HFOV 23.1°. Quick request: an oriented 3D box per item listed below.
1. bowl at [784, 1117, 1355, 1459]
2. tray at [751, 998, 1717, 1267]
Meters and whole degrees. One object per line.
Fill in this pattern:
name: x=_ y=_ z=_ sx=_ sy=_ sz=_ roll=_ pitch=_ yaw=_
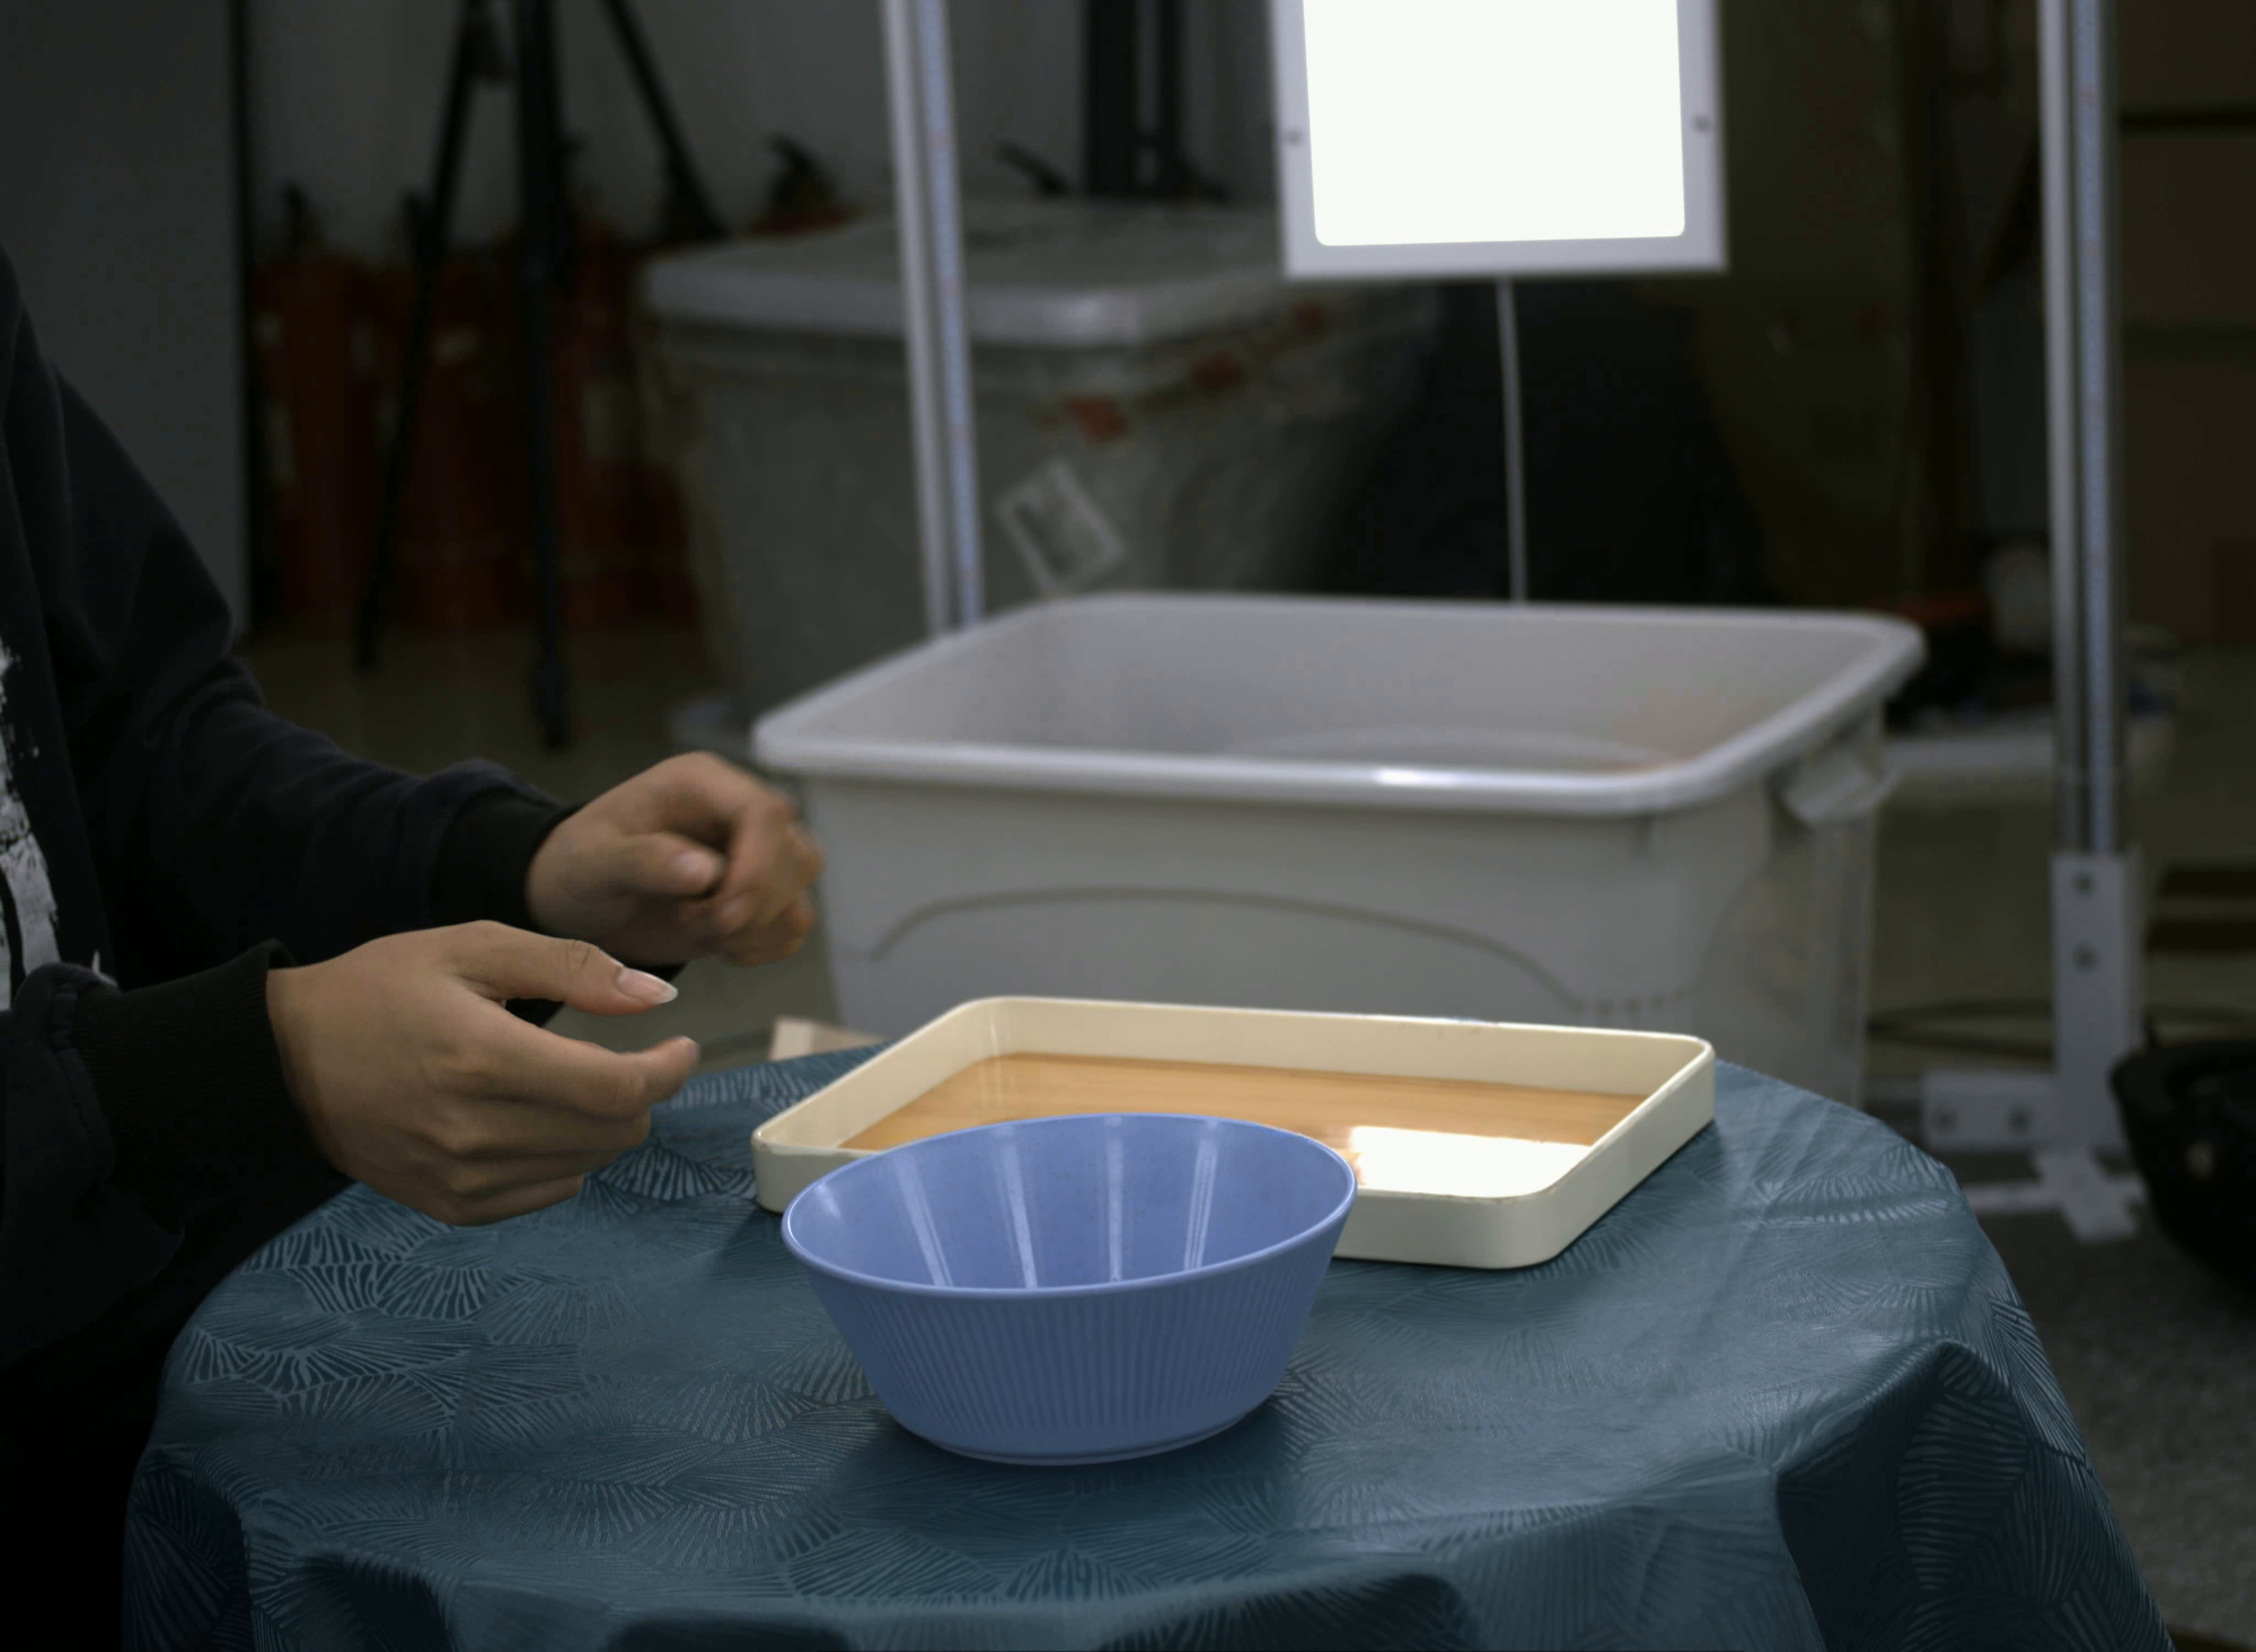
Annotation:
bowl: x=-0.016 y=0.143 z=1.683 sx=0.175 sy=0.070 sz=0.176 roll=-4 pitch=13 yaw=0
tray: x=0.038 y=0.105 z=1.919 sx=0.305 sy=0.027 sz=0.187 roll=2 pitch=15 yaw=27
